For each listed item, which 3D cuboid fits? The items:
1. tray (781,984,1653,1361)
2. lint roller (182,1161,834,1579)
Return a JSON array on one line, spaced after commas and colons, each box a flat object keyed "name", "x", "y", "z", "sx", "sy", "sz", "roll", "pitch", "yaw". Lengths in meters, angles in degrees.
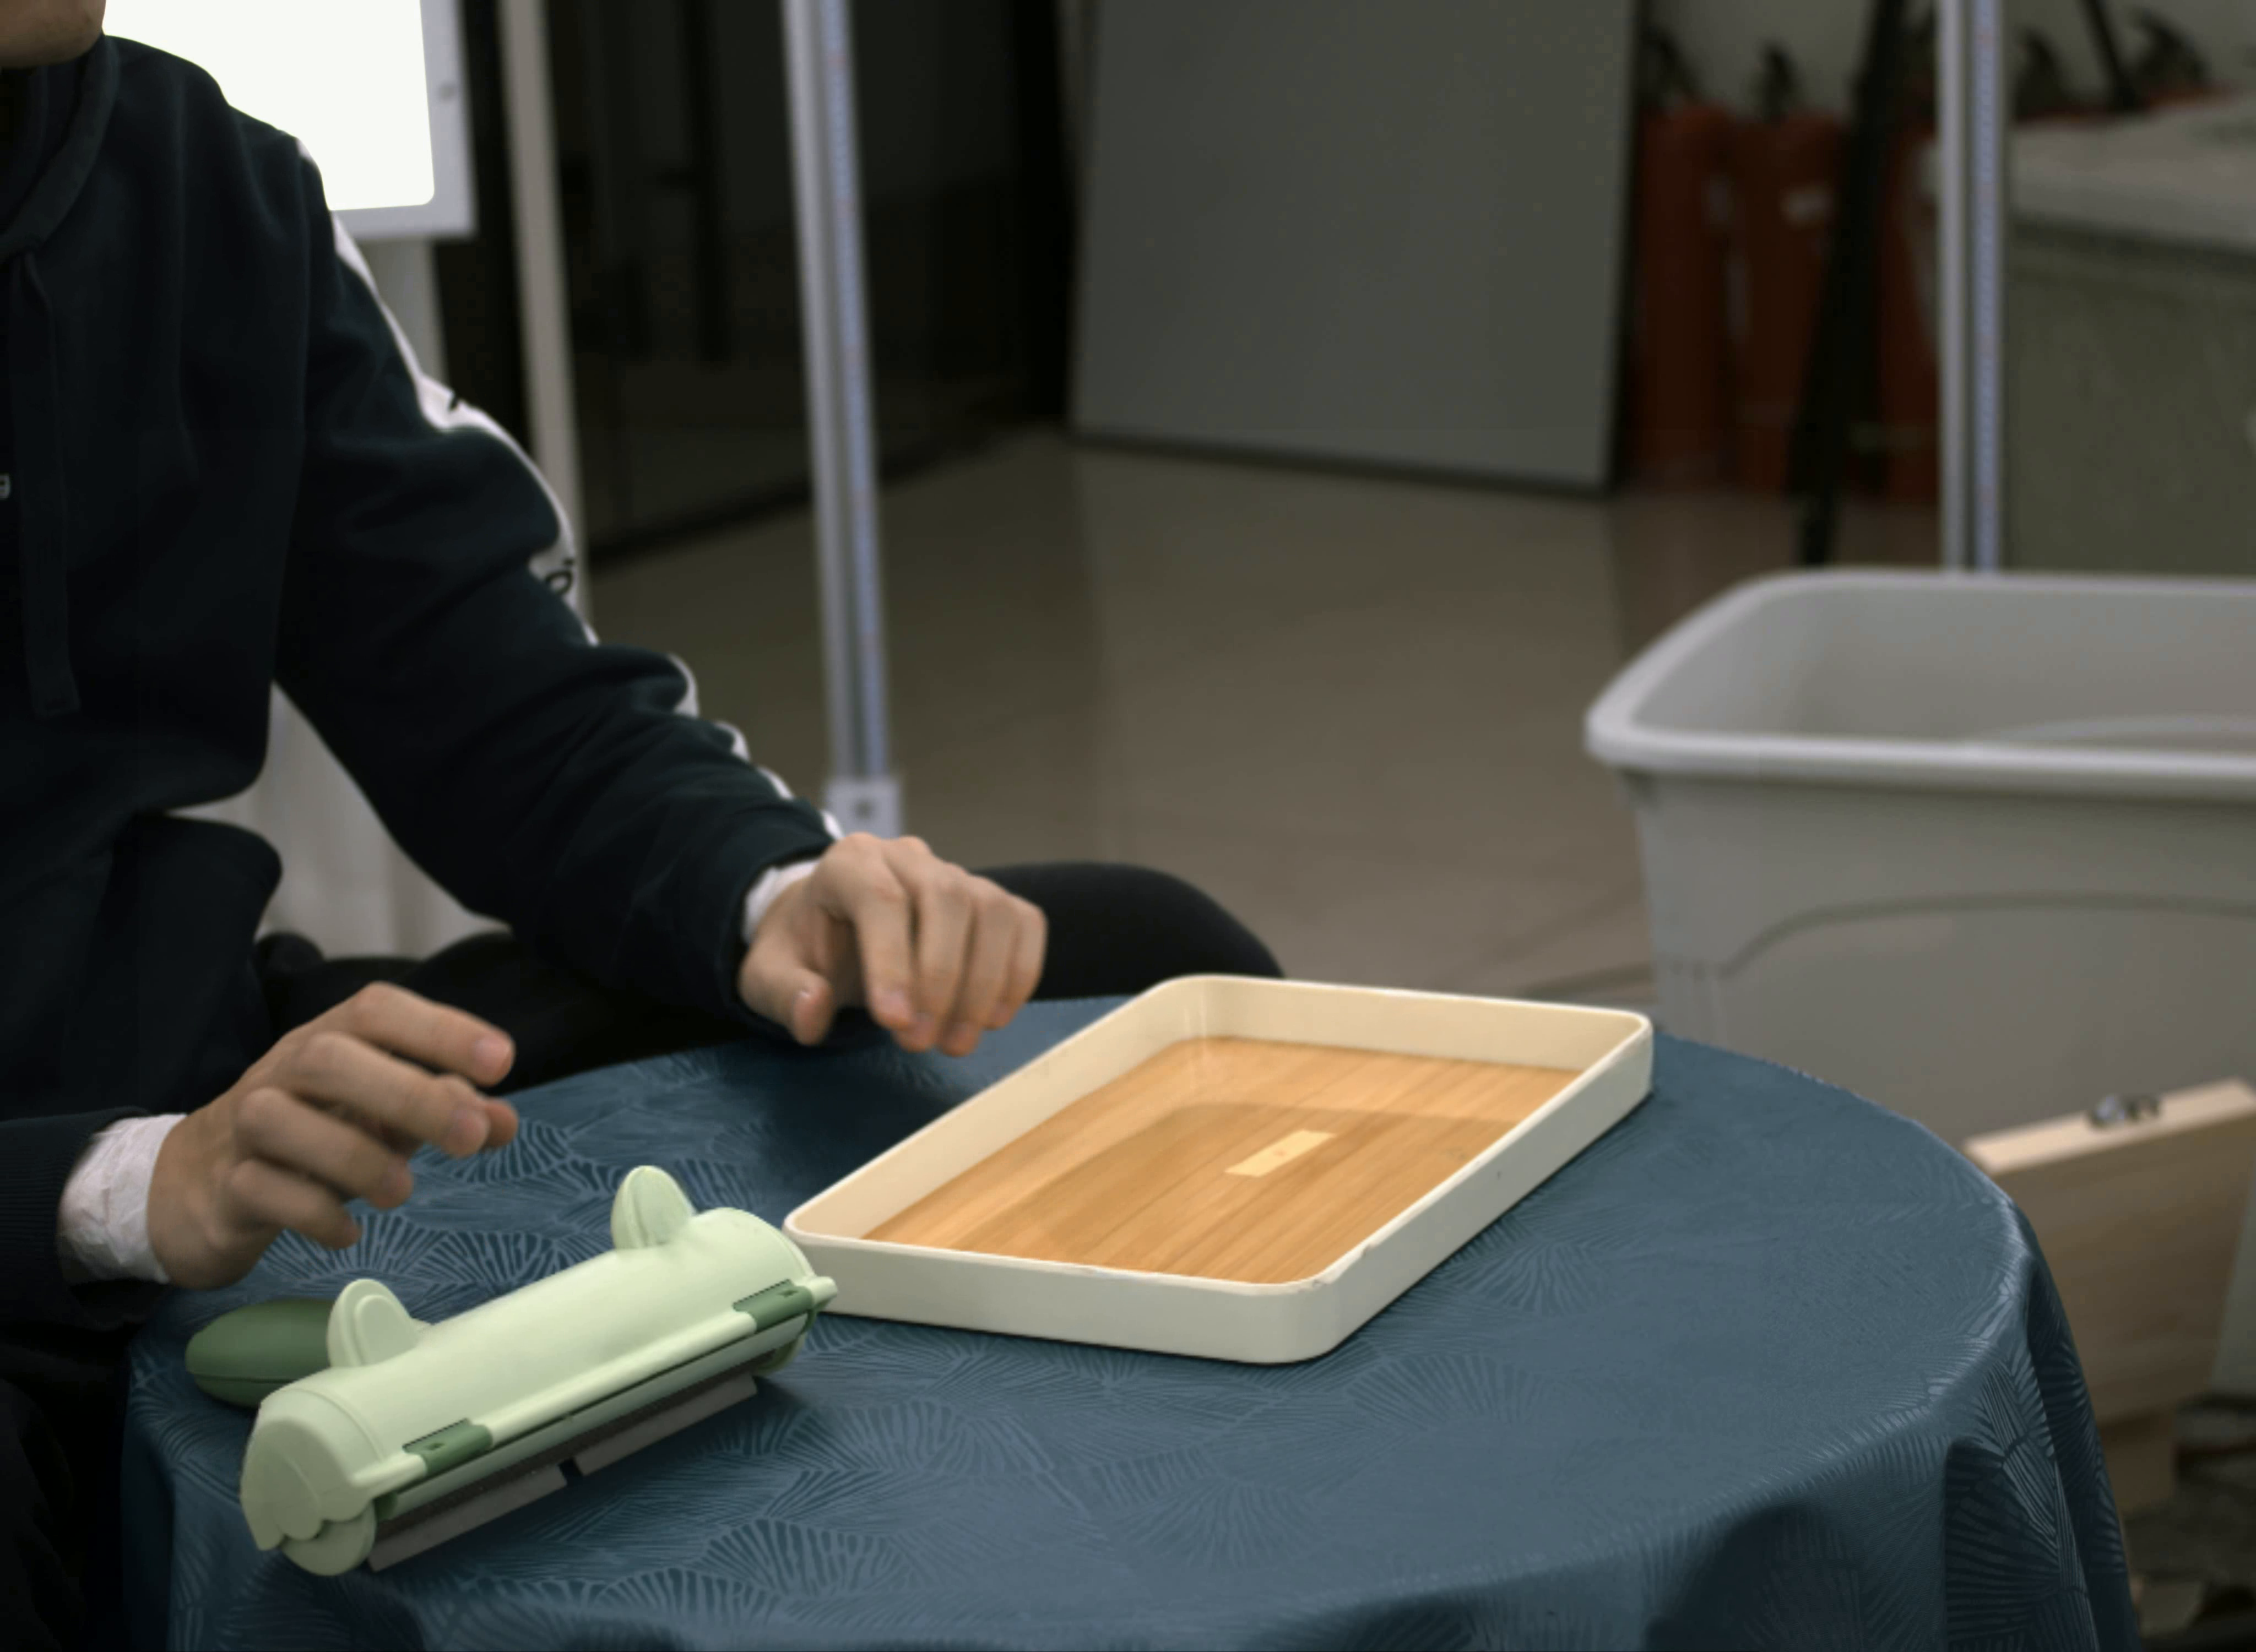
[{"name": "tray", "x": 0.036, "y": 0.108, "z": 1.758, "sx": 0.192, "sy": 0.028, "sz": 0.296, "roll": 2, "pitch": 15, "yaw": 28}, {"name": "lint roller", "x": -0.212, "y": 0.143, "z": 1.579, "sx": 0.185, "sy": 0.083, "sz": 0.195, "roll": 13, "pitch": 21, "yaw": 37}]
